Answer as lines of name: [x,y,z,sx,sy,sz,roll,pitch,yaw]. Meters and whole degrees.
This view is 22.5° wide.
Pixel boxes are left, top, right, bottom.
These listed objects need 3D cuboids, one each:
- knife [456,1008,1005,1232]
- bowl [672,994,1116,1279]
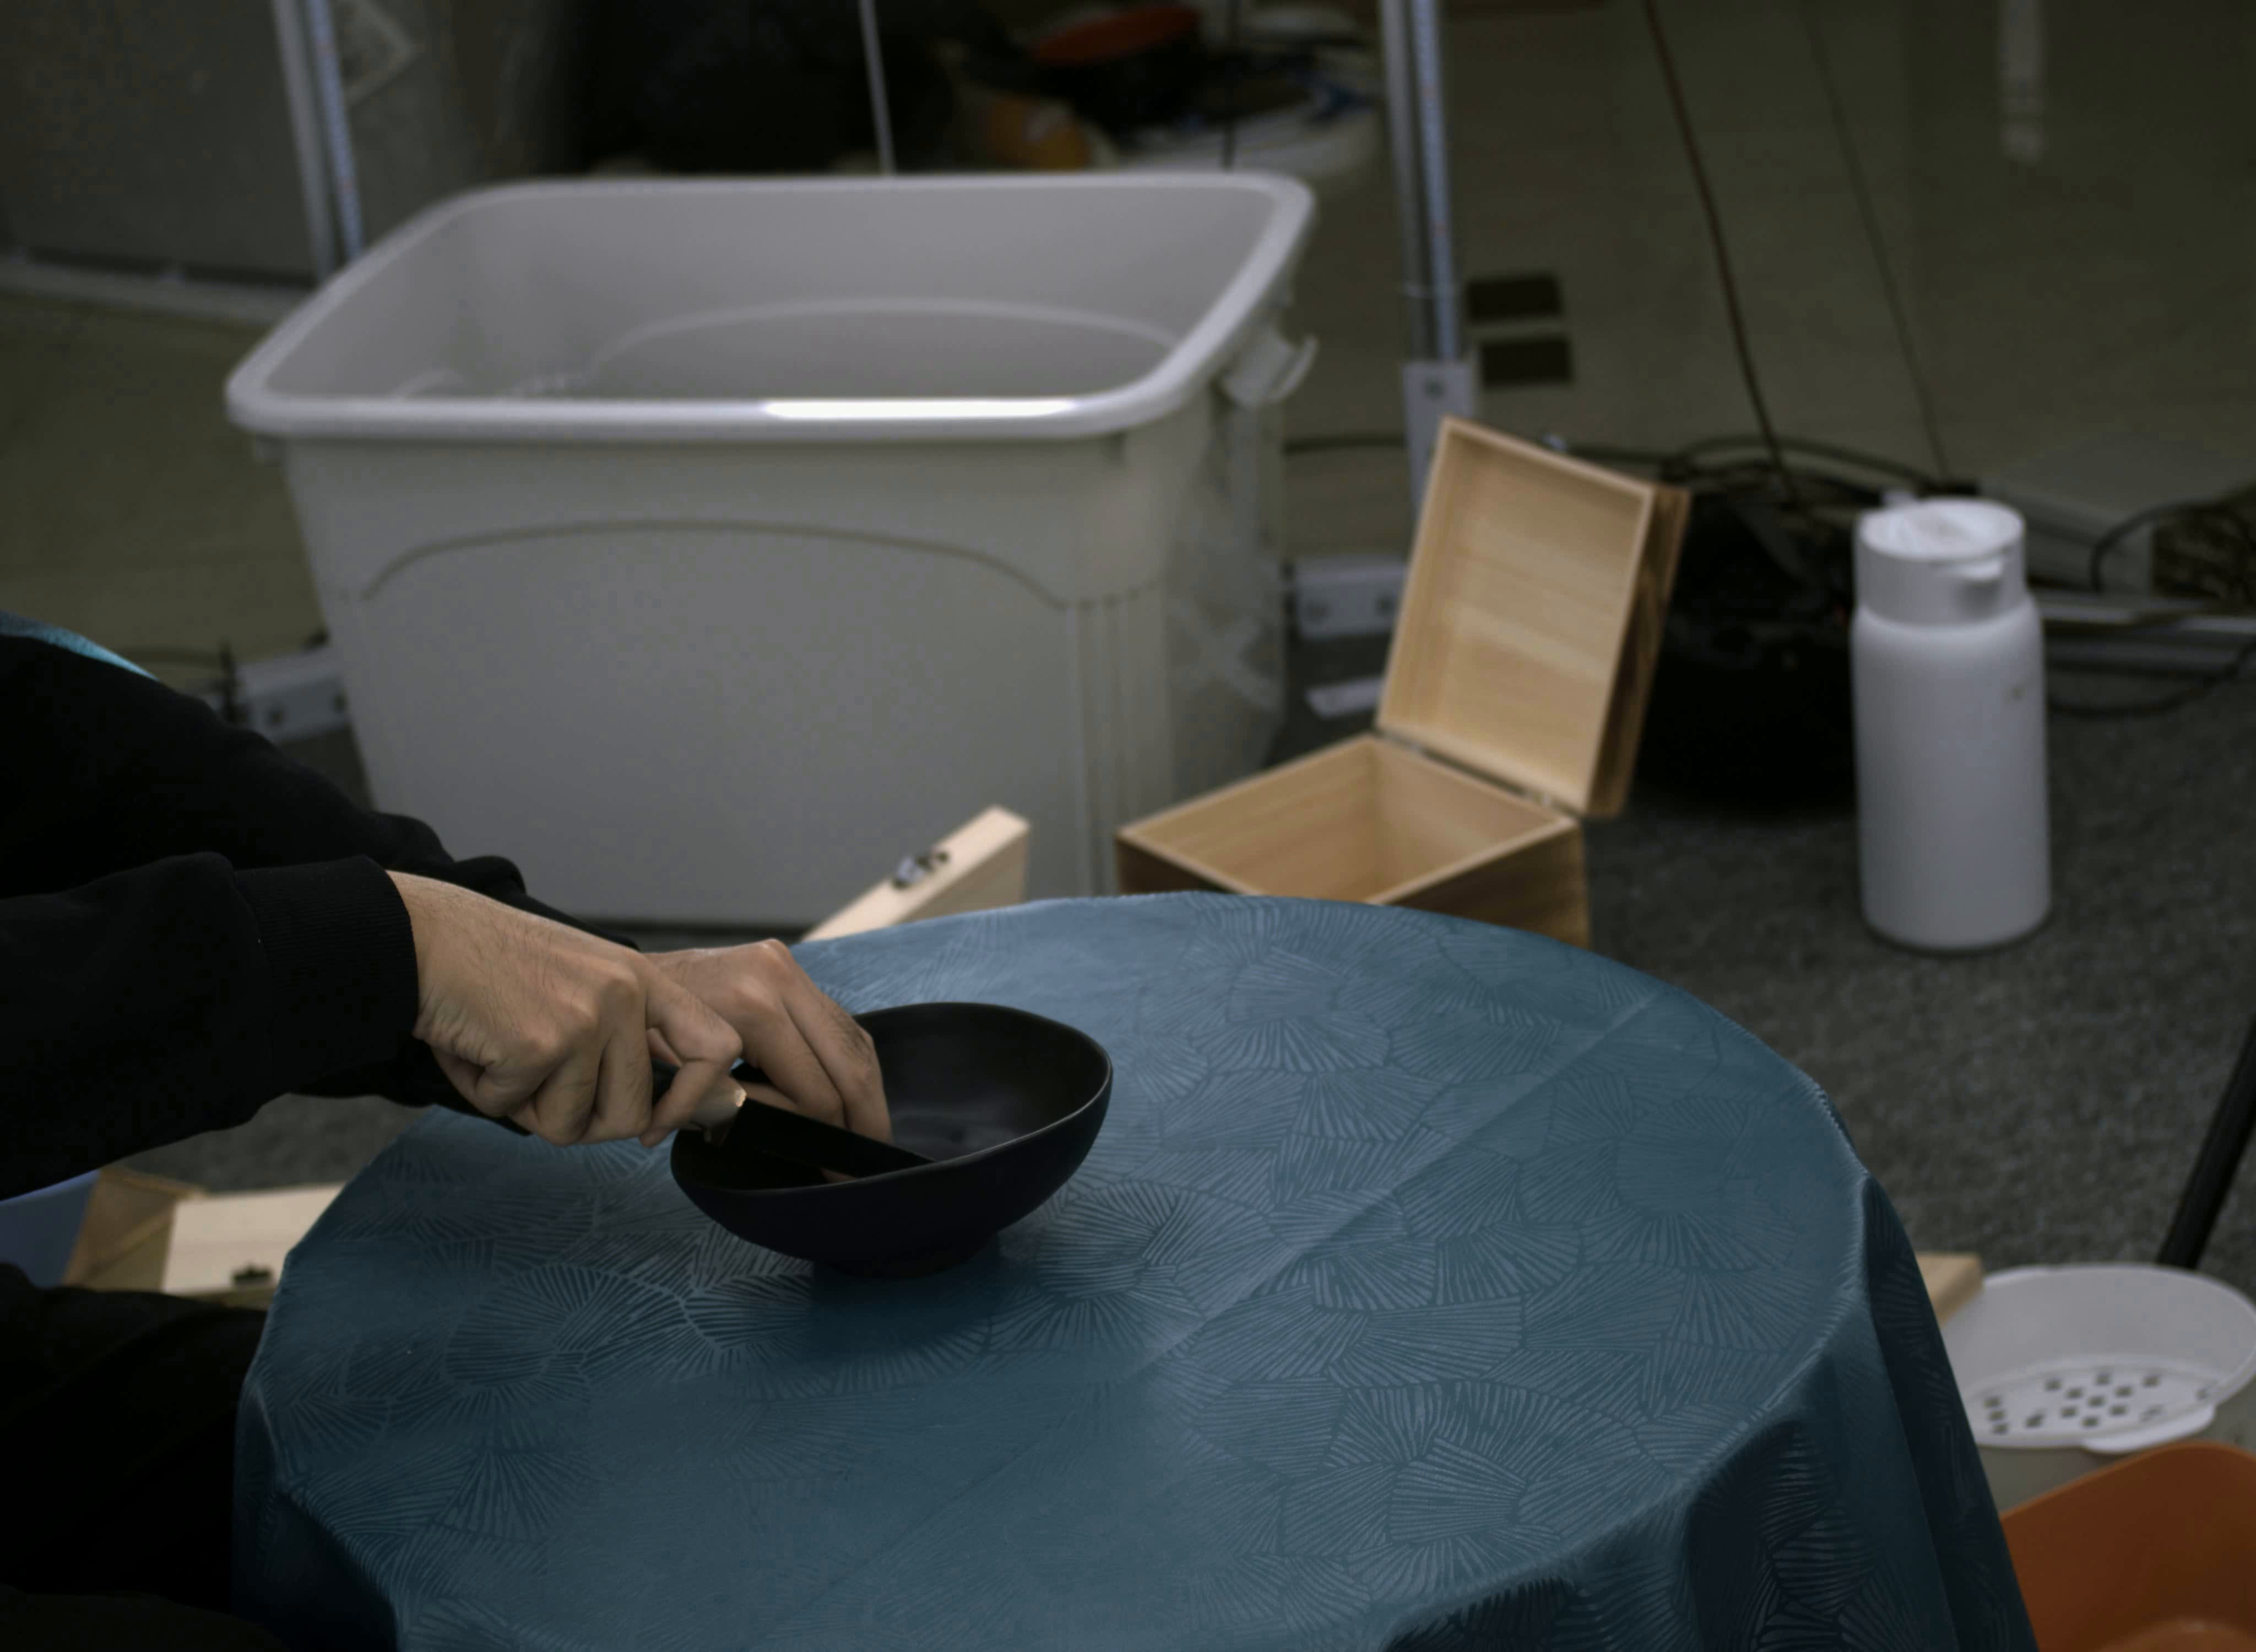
knife: [-0.144,0.109,2.079,0.226,0.026,0.017,20,36,-19]
bowl: [-0.084,0.126,2.118,0.170,0.068,0.135,-14,26,-12]
